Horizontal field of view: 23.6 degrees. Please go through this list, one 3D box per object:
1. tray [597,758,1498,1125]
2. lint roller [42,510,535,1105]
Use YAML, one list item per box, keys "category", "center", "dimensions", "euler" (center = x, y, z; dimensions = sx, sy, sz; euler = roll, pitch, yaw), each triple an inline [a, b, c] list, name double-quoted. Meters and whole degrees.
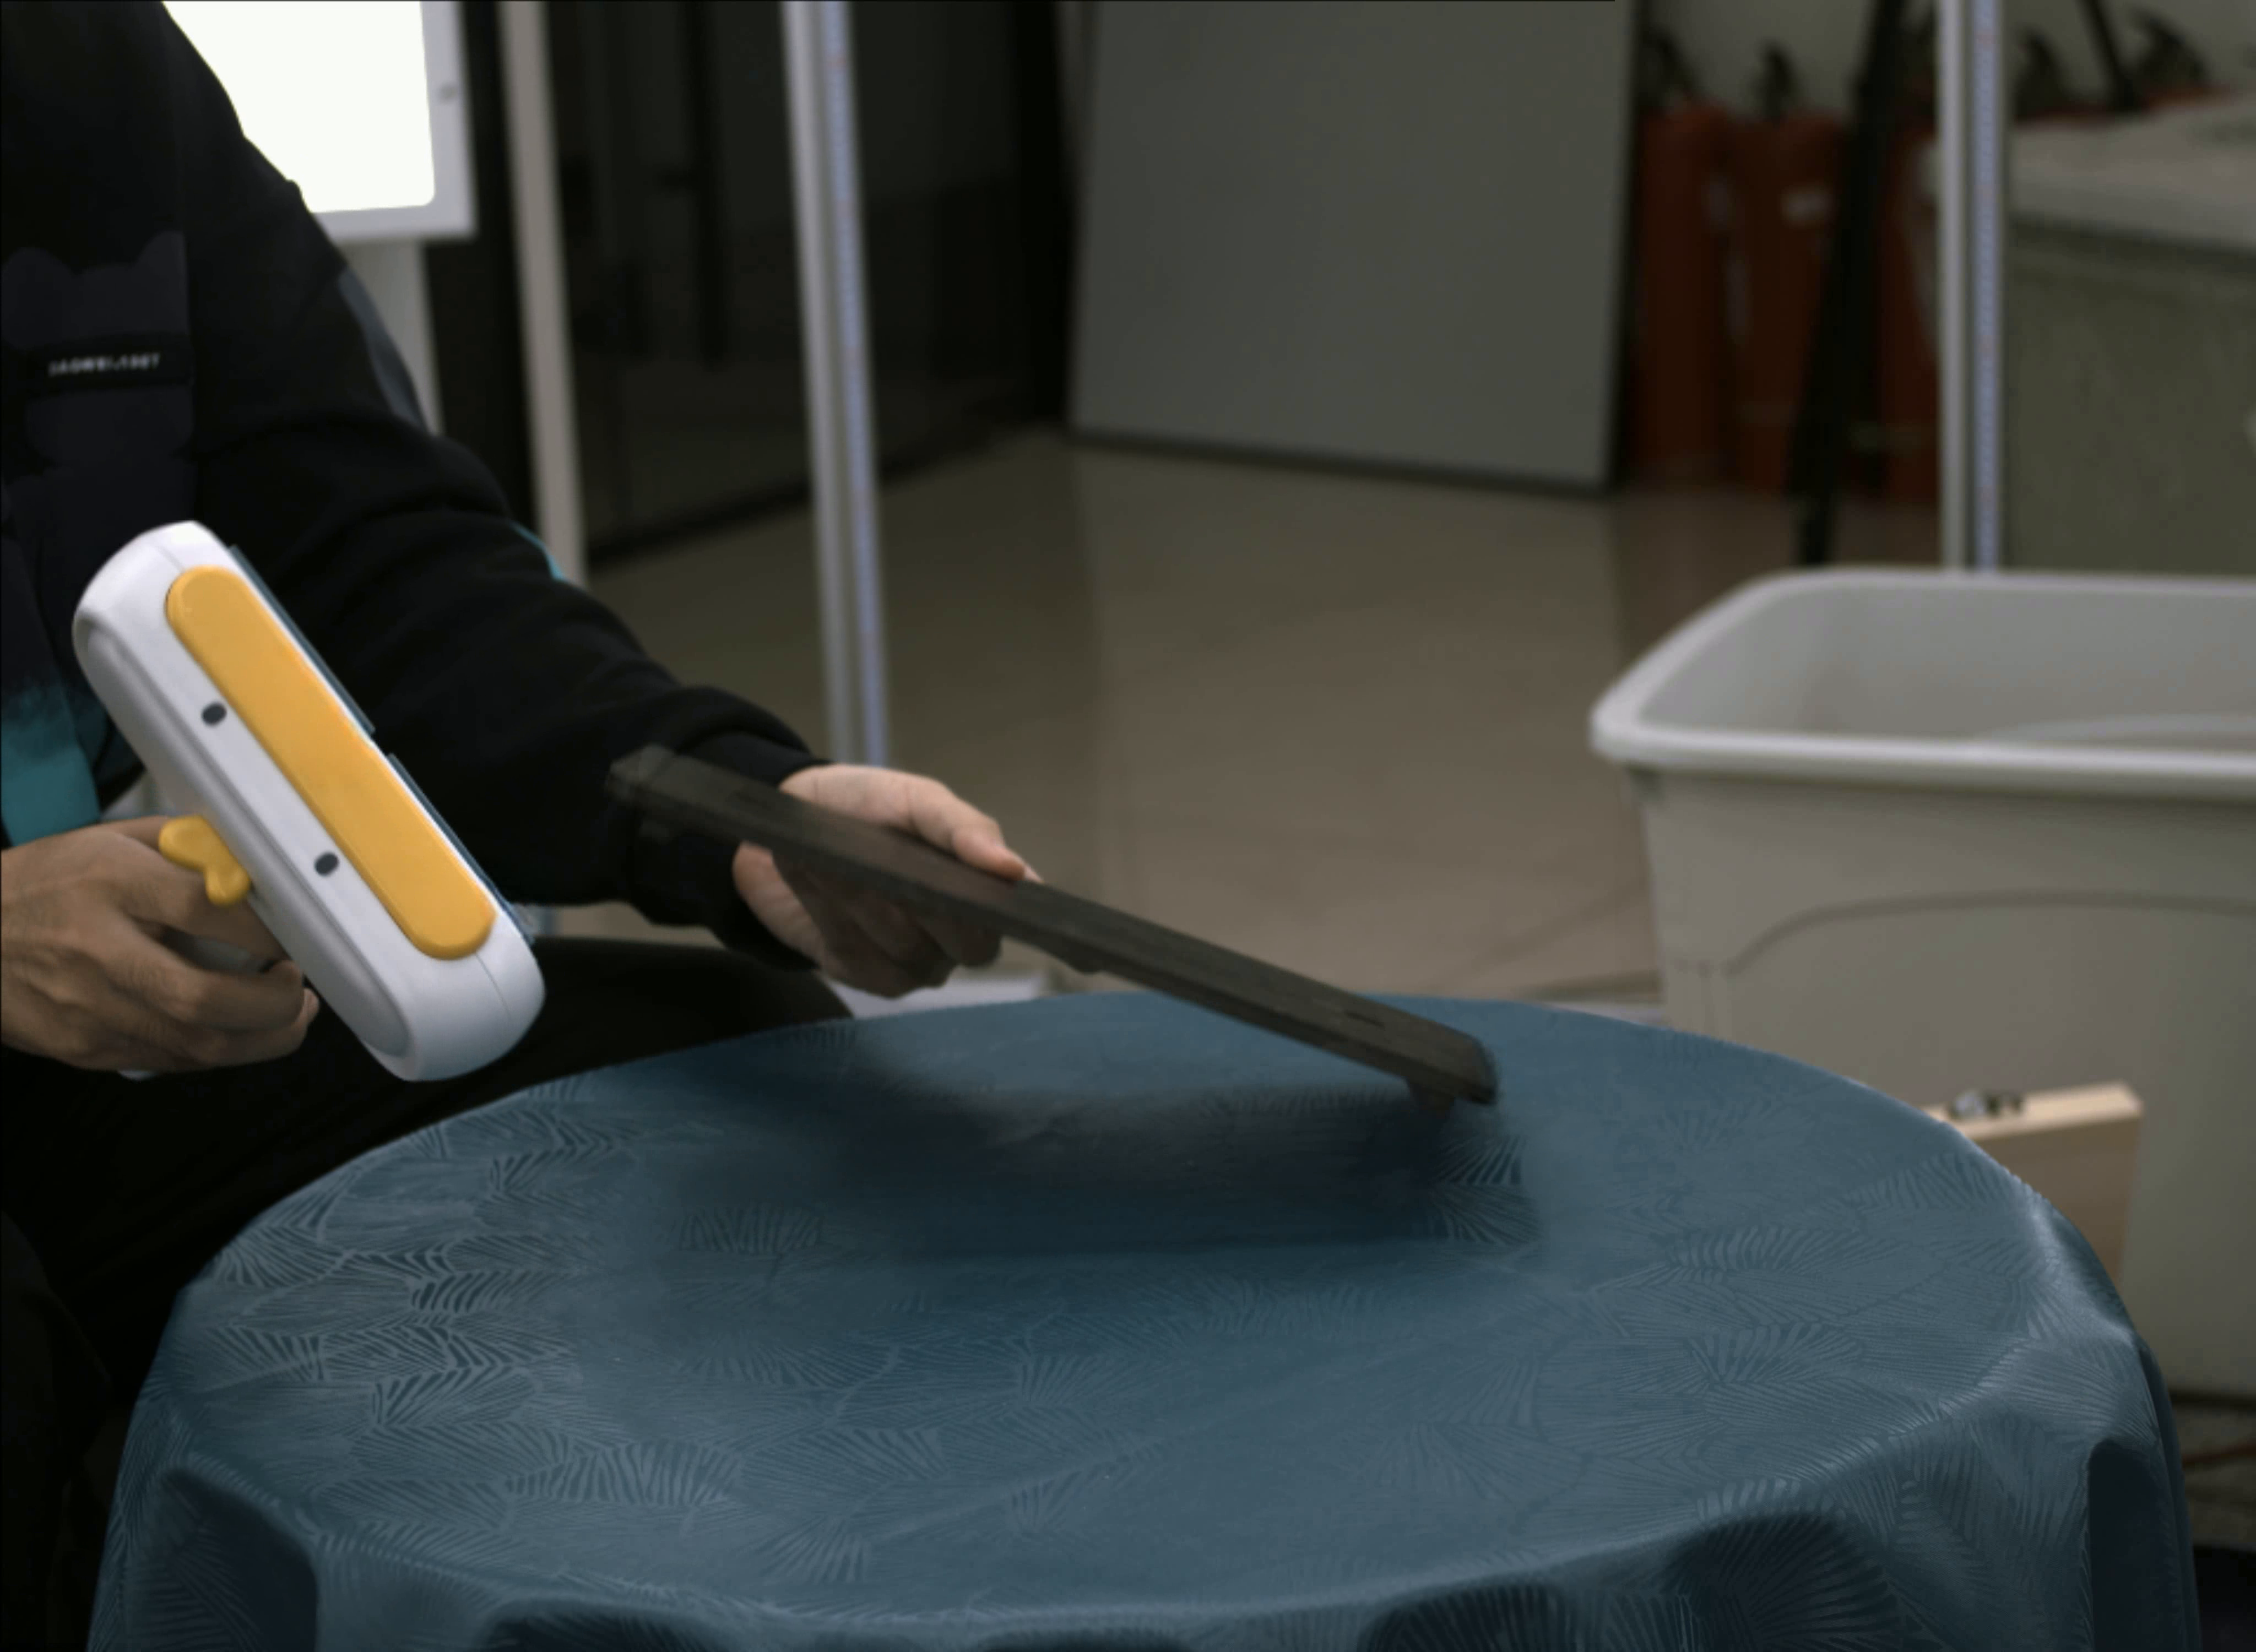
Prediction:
- category: "tray"
  center: [-0.026, 0.038, 1.781]
  dimensions: [0.303, 0.019, 0.170]
  euler: [19, 4, 1]
- category: "lint roller"
  center: [-0.273, 0.022, 1.677]
  dimensions: [0.073, 0.193, 0.194]
  euler: [-39, -11, -33]
